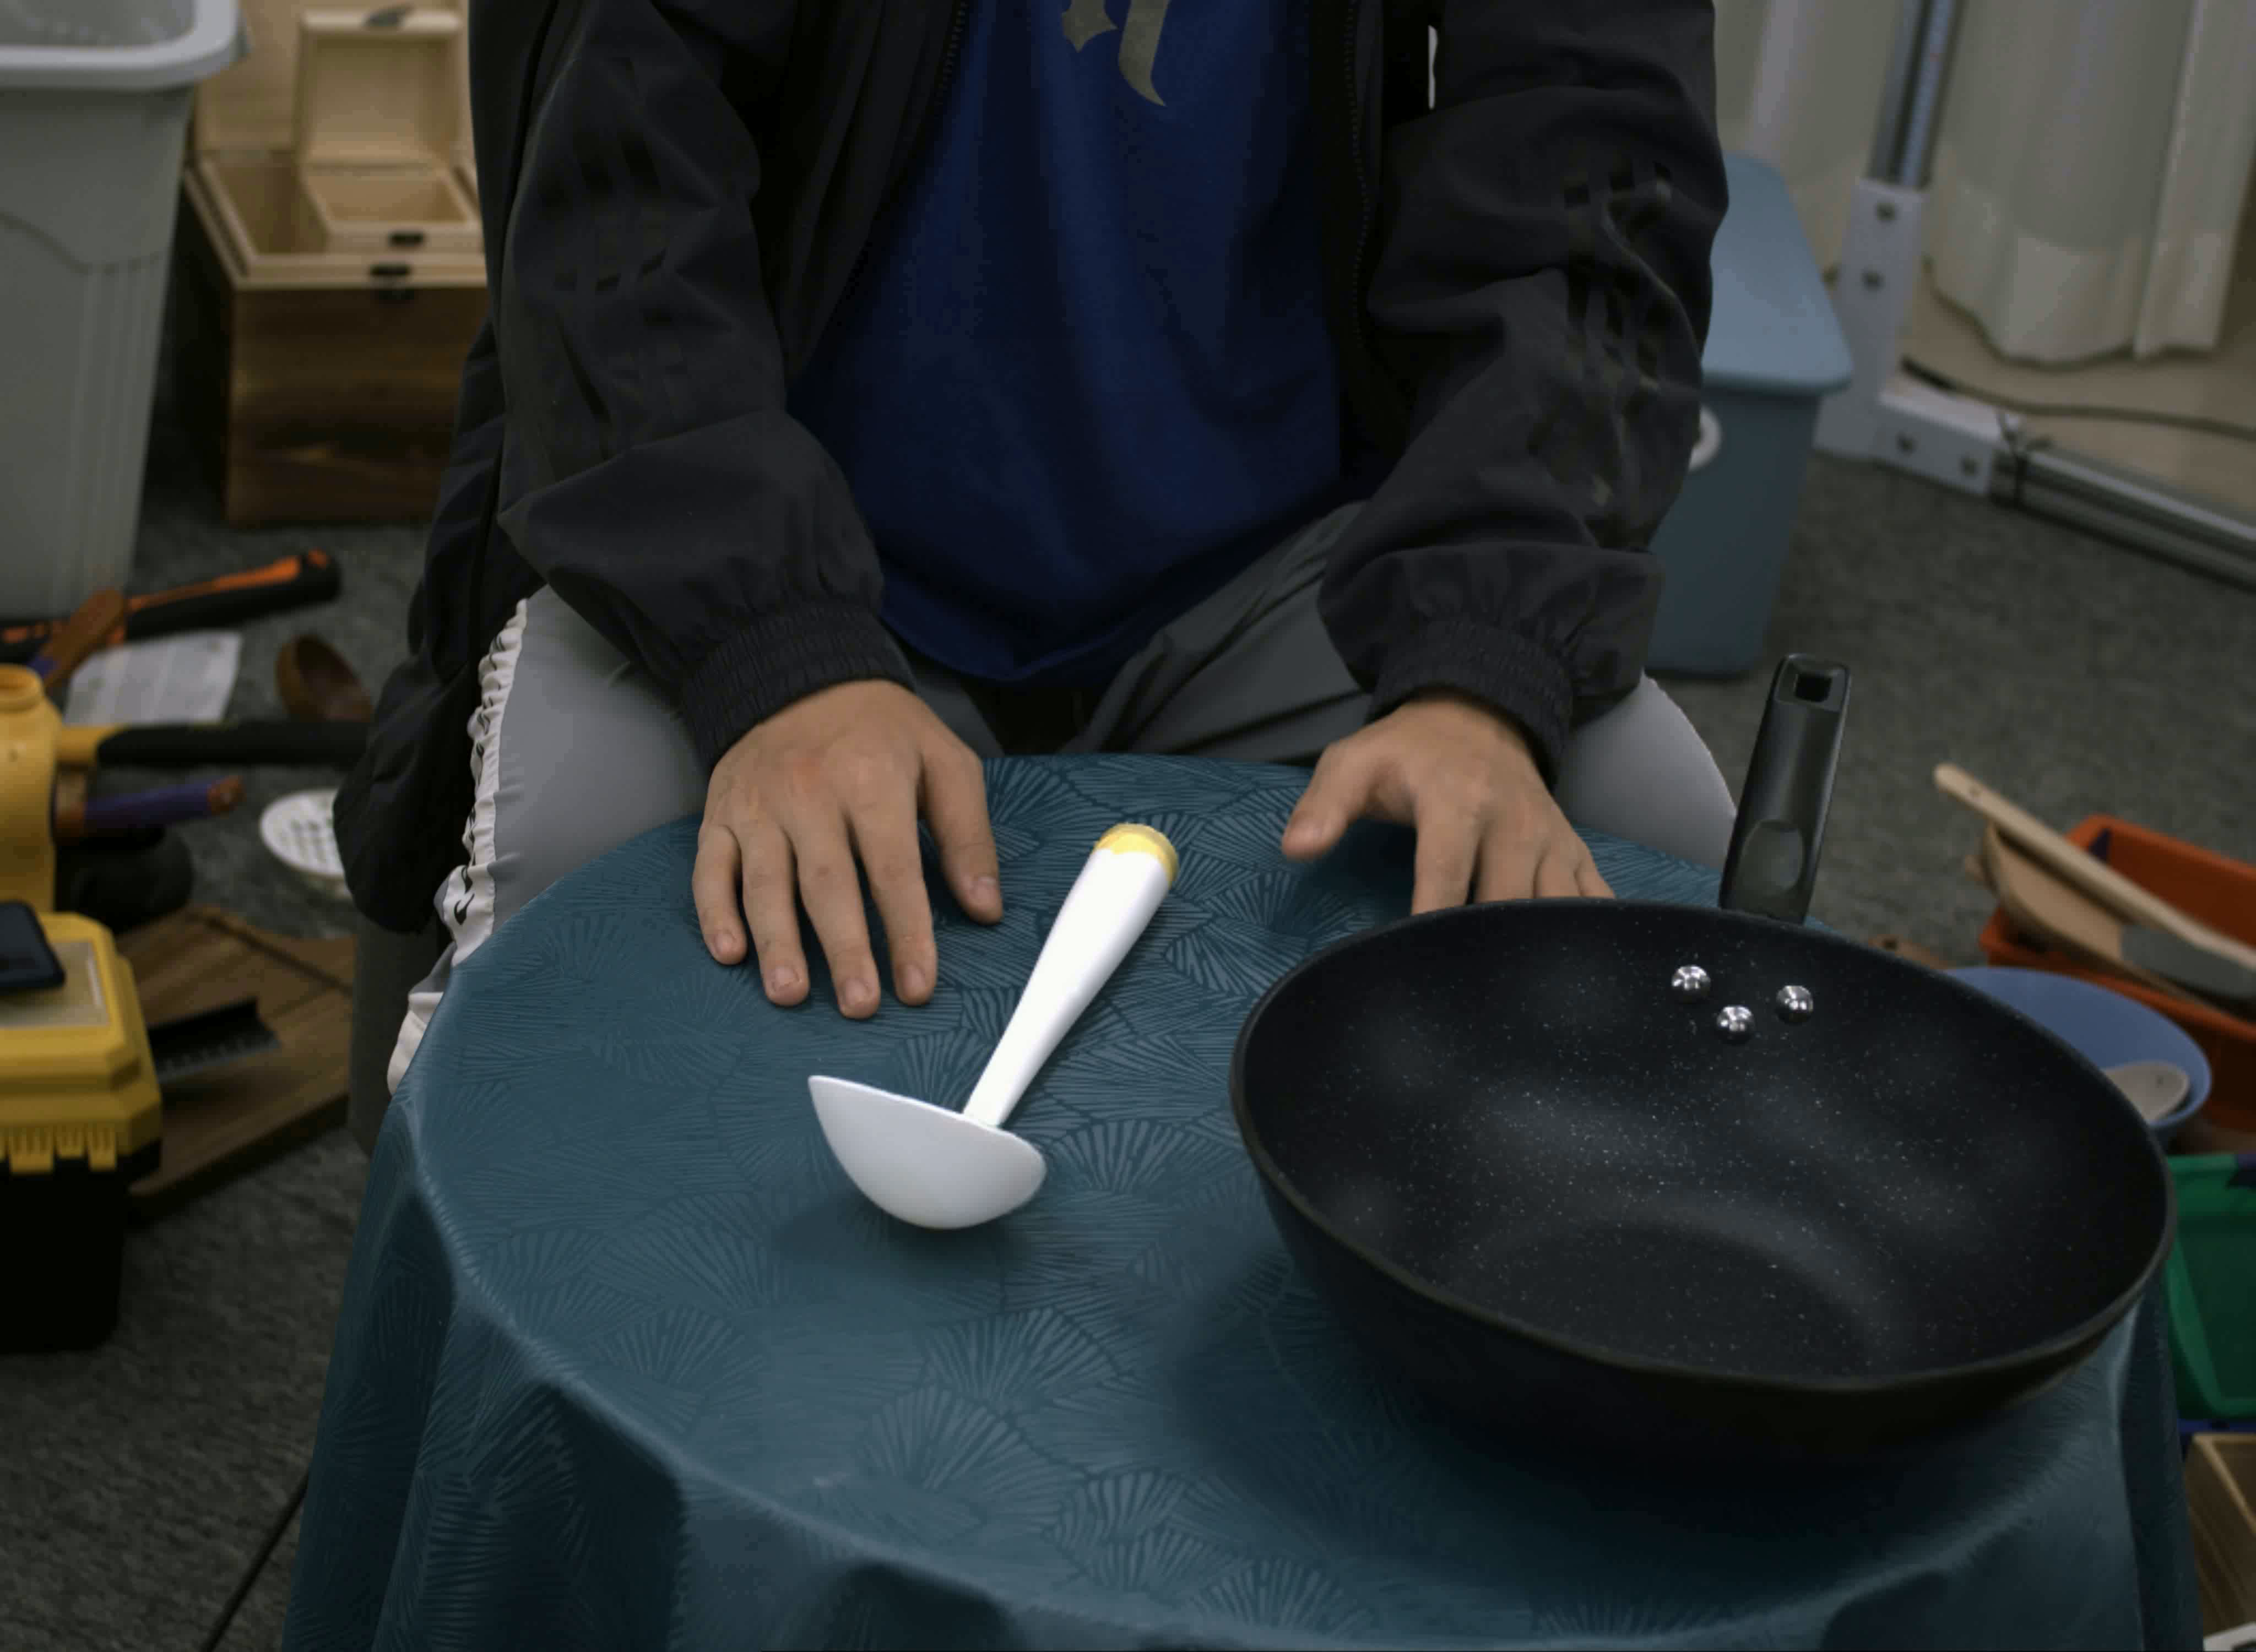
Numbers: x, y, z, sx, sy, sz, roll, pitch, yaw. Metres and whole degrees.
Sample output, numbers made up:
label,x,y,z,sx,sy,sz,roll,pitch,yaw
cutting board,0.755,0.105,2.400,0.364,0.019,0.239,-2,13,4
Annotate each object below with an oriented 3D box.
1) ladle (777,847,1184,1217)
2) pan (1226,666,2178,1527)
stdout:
label,x,y,z,sx,sy,sz,roll,pitch,yaw
ladle,-0.037,0.058,1.855,0.090,0.070,0.293,11,25,15
pan,0.199,0.092,1.796,0.310,0.111,0.478,12,28,8
